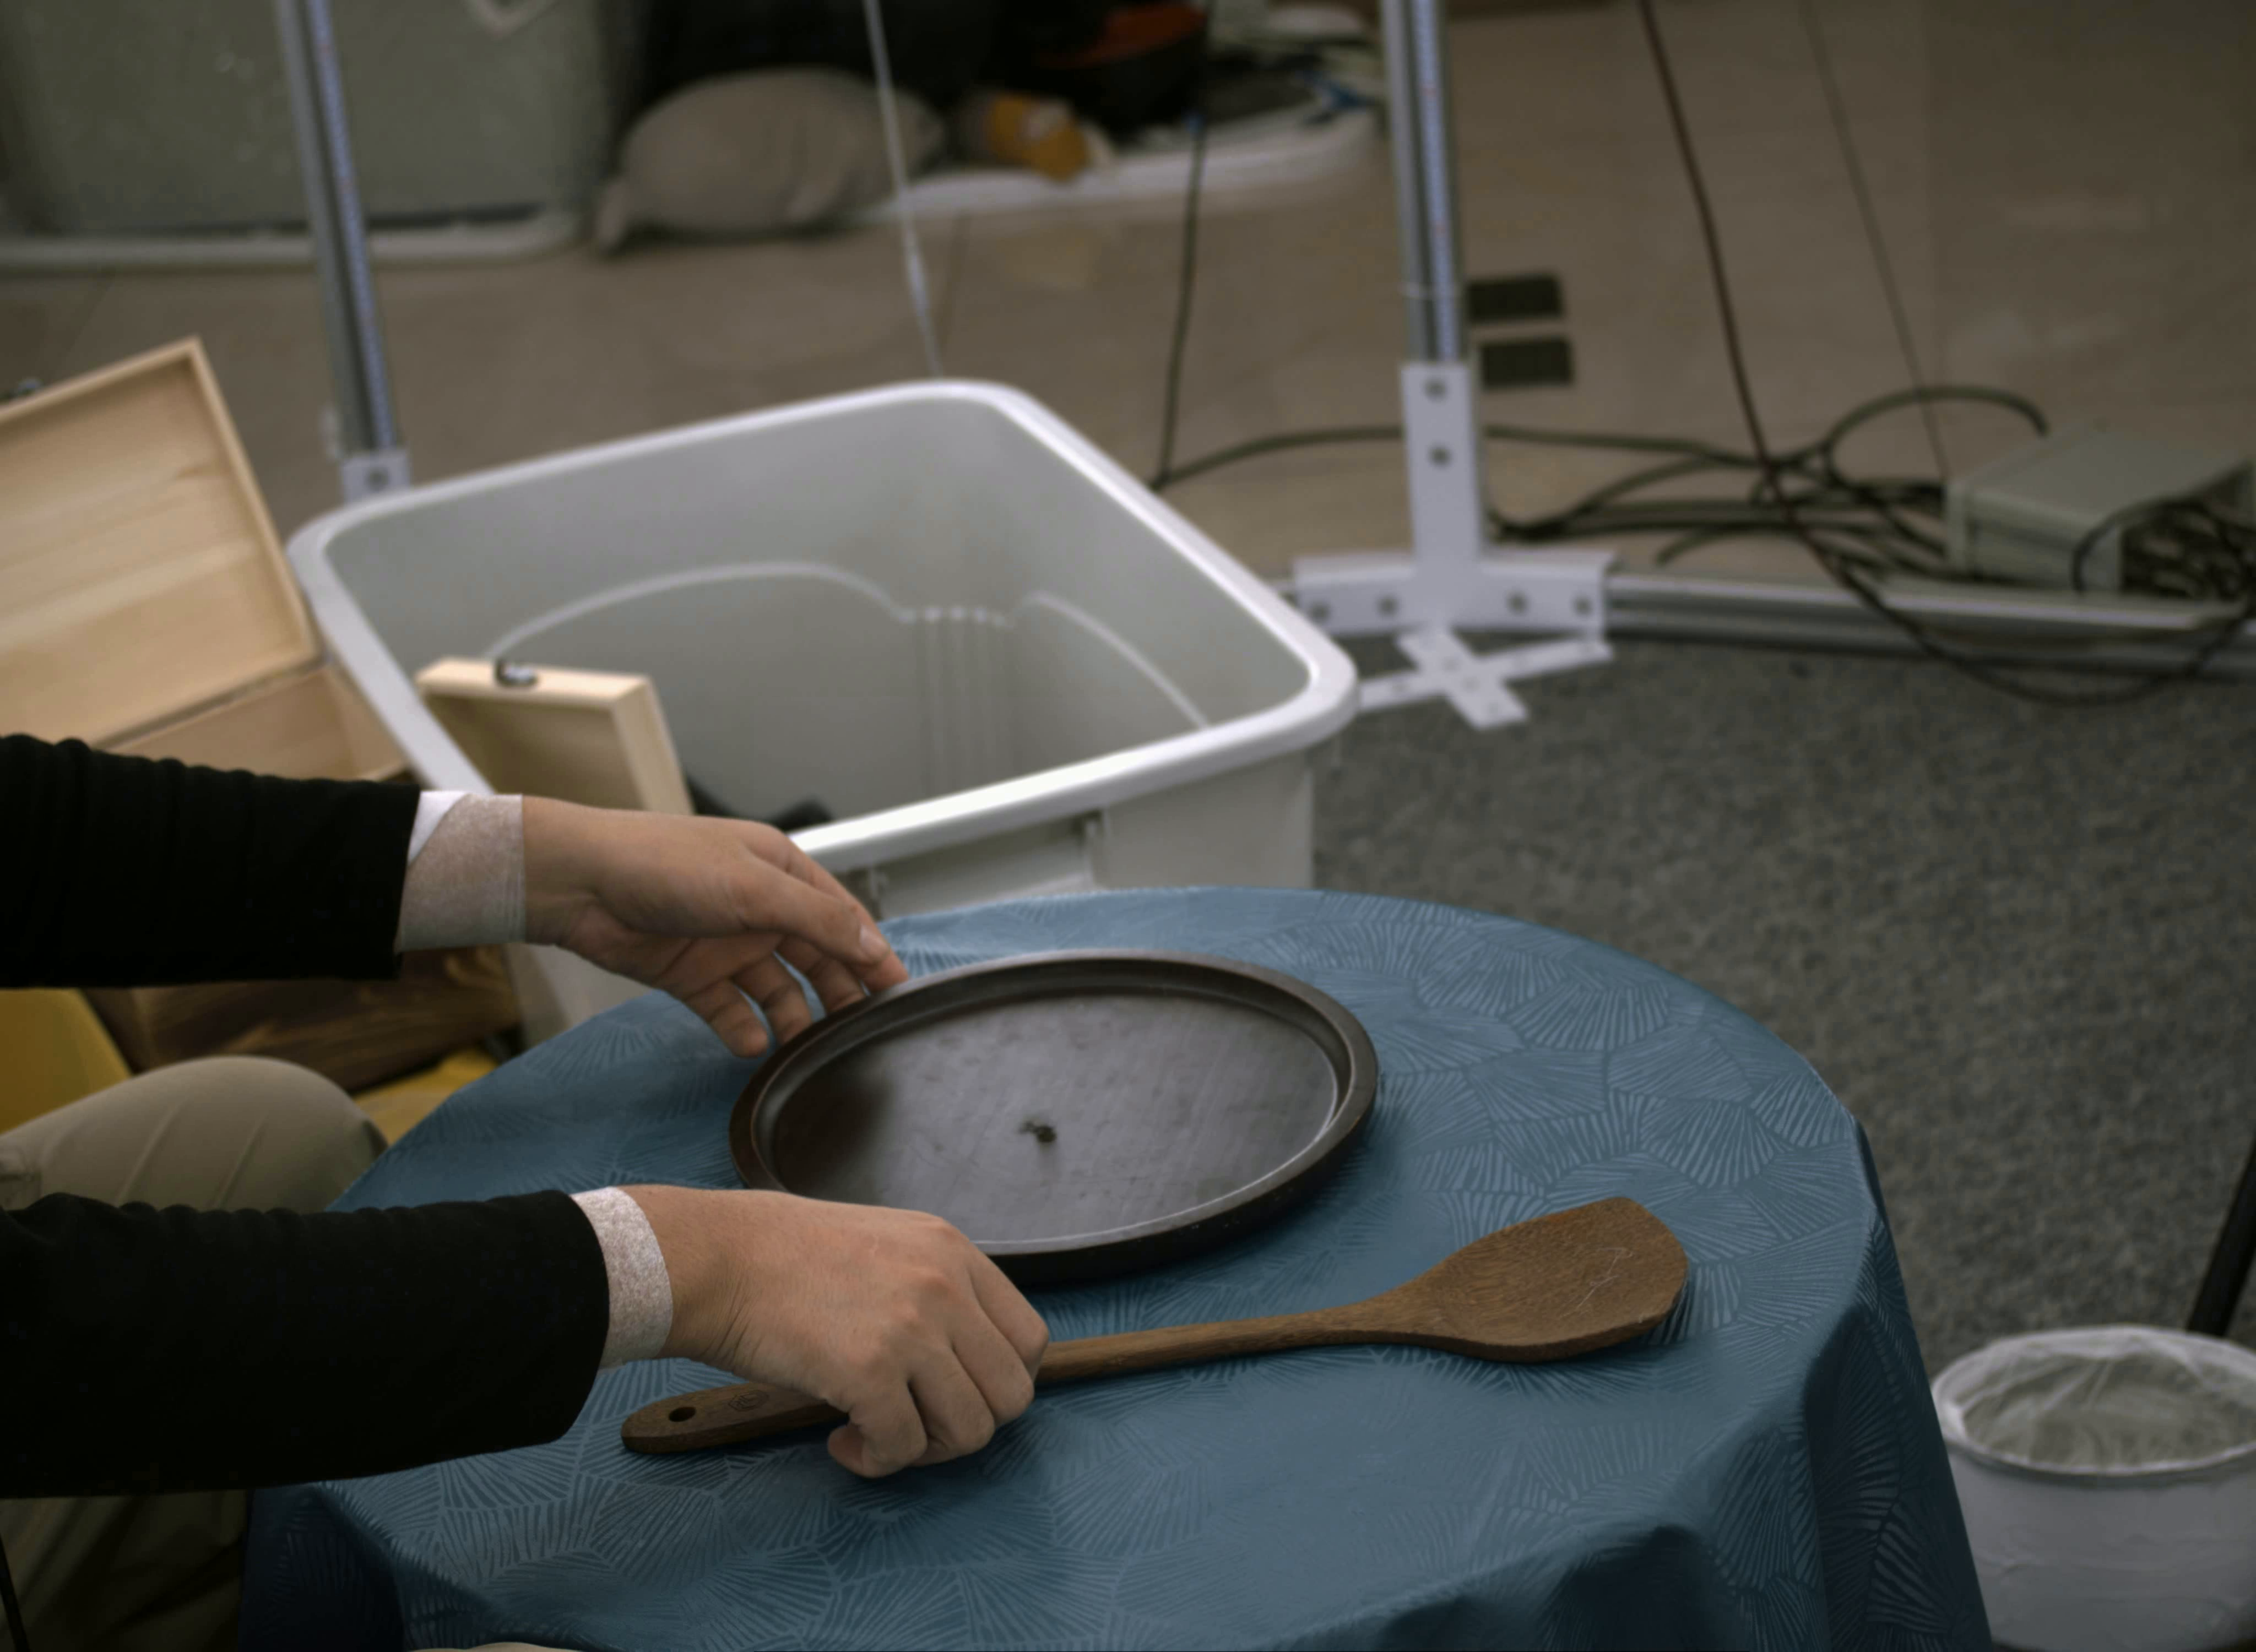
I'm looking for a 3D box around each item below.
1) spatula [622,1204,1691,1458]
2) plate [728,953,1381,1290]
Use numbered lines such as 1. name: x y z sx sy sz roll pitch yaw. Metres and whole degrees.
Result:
1. spatula: 0.010 0.186 2.027 0.385 0.016 0.095 -9 24 -4
2. plate: -0.028 0.112 2.185 0.254 0.029 0.251 -5 26 3
